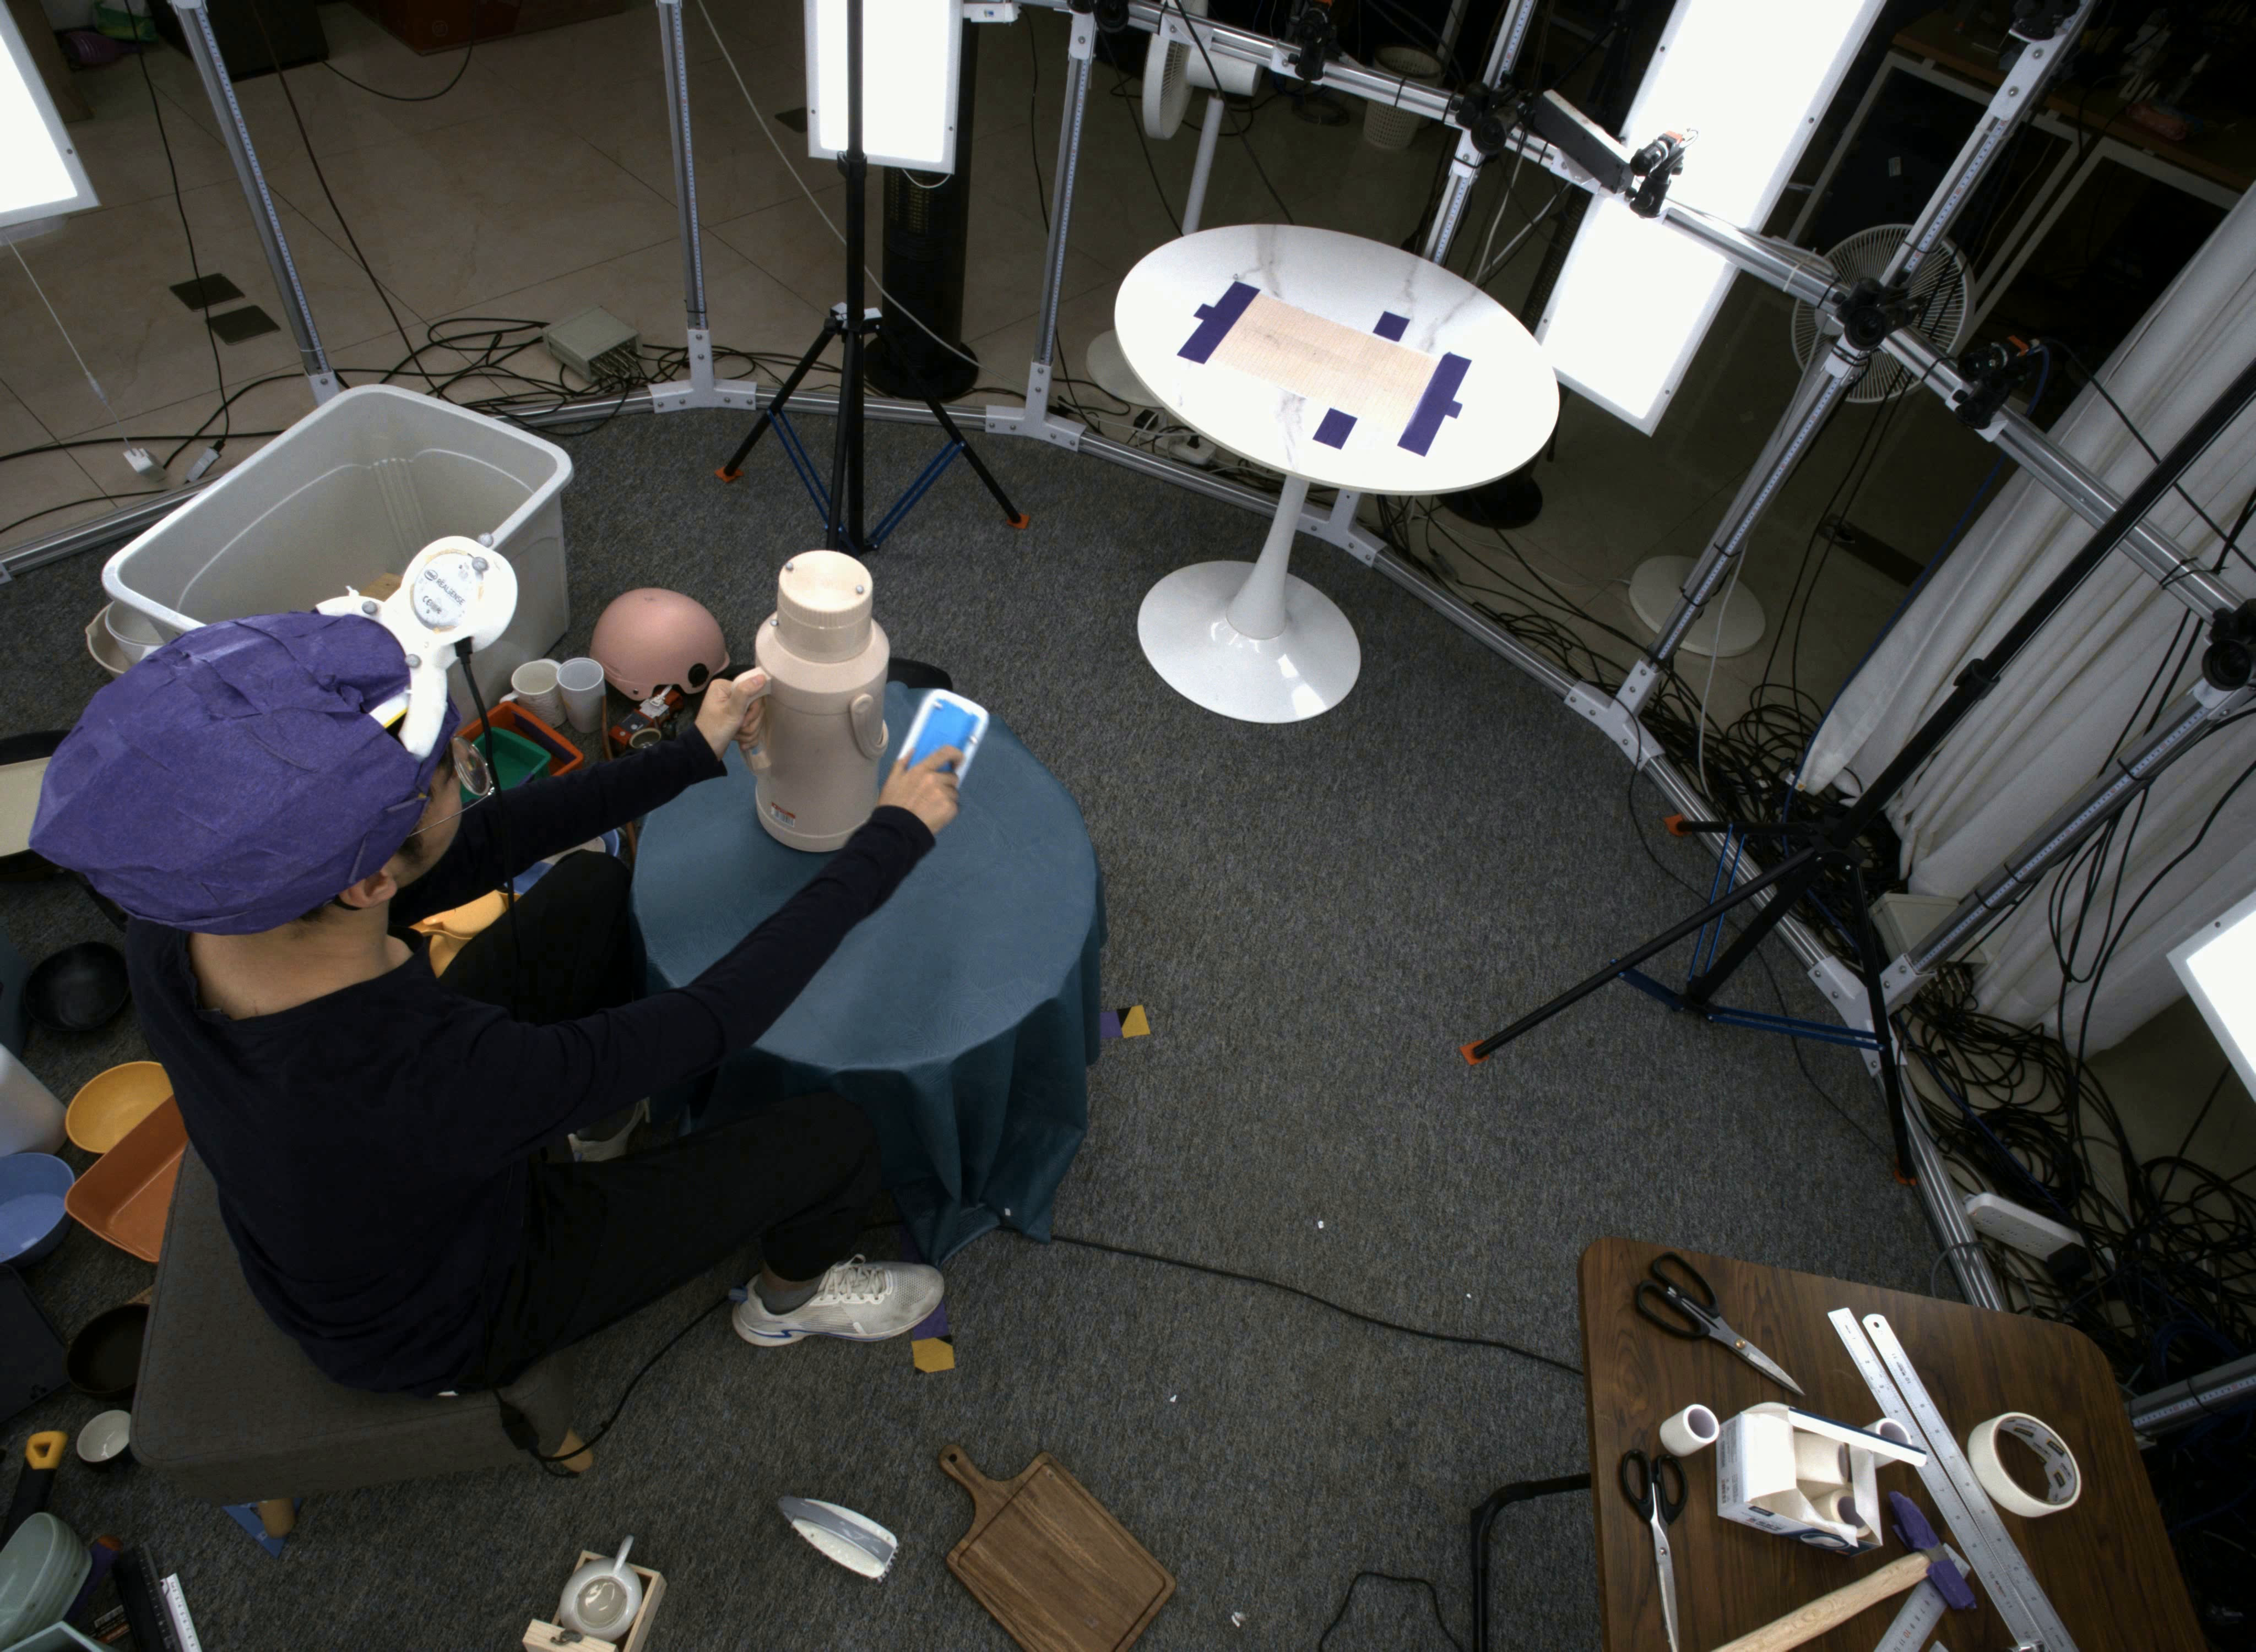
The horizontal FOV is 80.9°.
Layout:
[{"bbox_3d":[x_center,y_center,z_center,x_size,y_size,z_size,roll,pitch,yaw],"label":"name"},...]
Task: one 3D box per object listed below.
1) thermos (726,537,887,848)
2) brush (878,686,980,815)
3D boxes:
[{"bbox_3d":[-0.393,-0.153,1.585,0.208,0.414,0.171,-32,65,-32],"label":"thermos"},{"bbox_3d":[-0.235,-0.092,1.519,0.083,0.056,0.145,24,85,2],"label":"brush"}]
